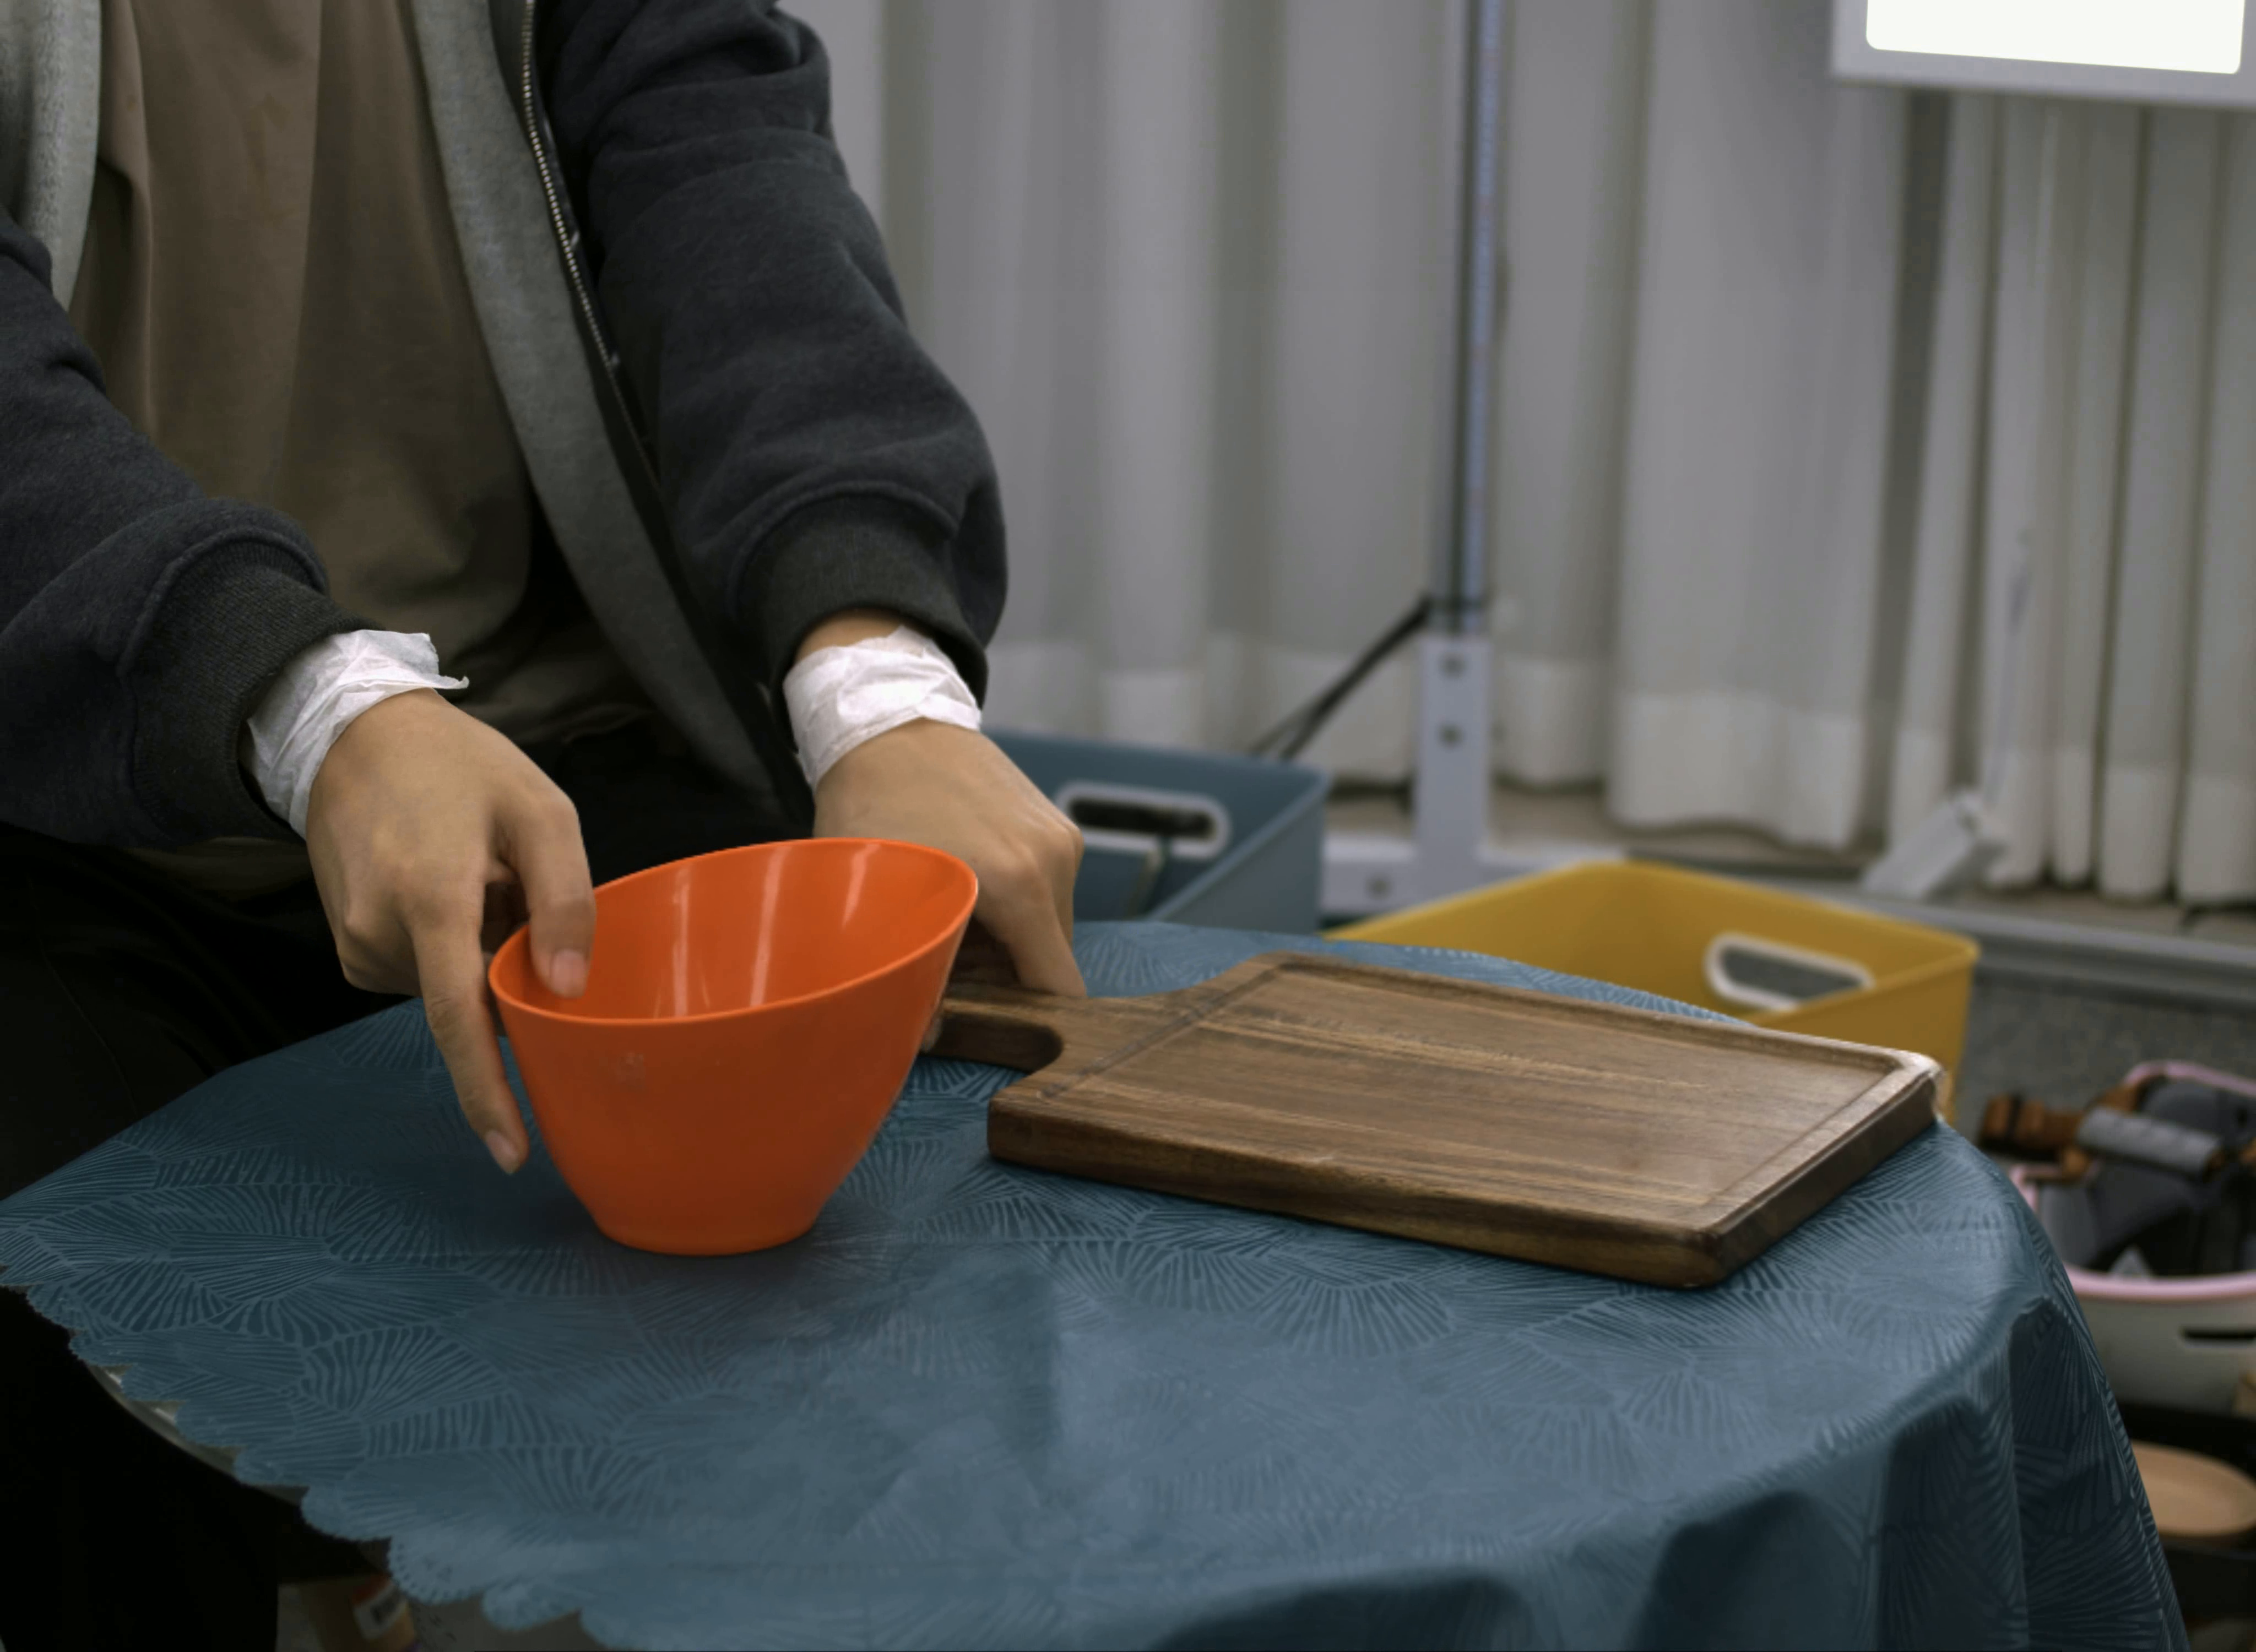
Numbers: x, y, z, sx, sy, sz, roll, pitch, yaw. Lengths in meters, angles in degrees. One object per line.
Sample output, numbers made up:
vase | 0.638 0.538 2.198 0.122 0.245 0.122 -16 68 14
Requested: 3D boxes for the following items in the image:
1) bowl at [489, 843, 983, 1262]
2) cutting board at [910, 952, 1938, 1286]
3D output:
bowl | -0.117 0.070 1.581 0.147 0.105 0.147 1 16 0
cutting board | 0.065 0.082 1.695 0.348 0.023 0.201 8 17 27
